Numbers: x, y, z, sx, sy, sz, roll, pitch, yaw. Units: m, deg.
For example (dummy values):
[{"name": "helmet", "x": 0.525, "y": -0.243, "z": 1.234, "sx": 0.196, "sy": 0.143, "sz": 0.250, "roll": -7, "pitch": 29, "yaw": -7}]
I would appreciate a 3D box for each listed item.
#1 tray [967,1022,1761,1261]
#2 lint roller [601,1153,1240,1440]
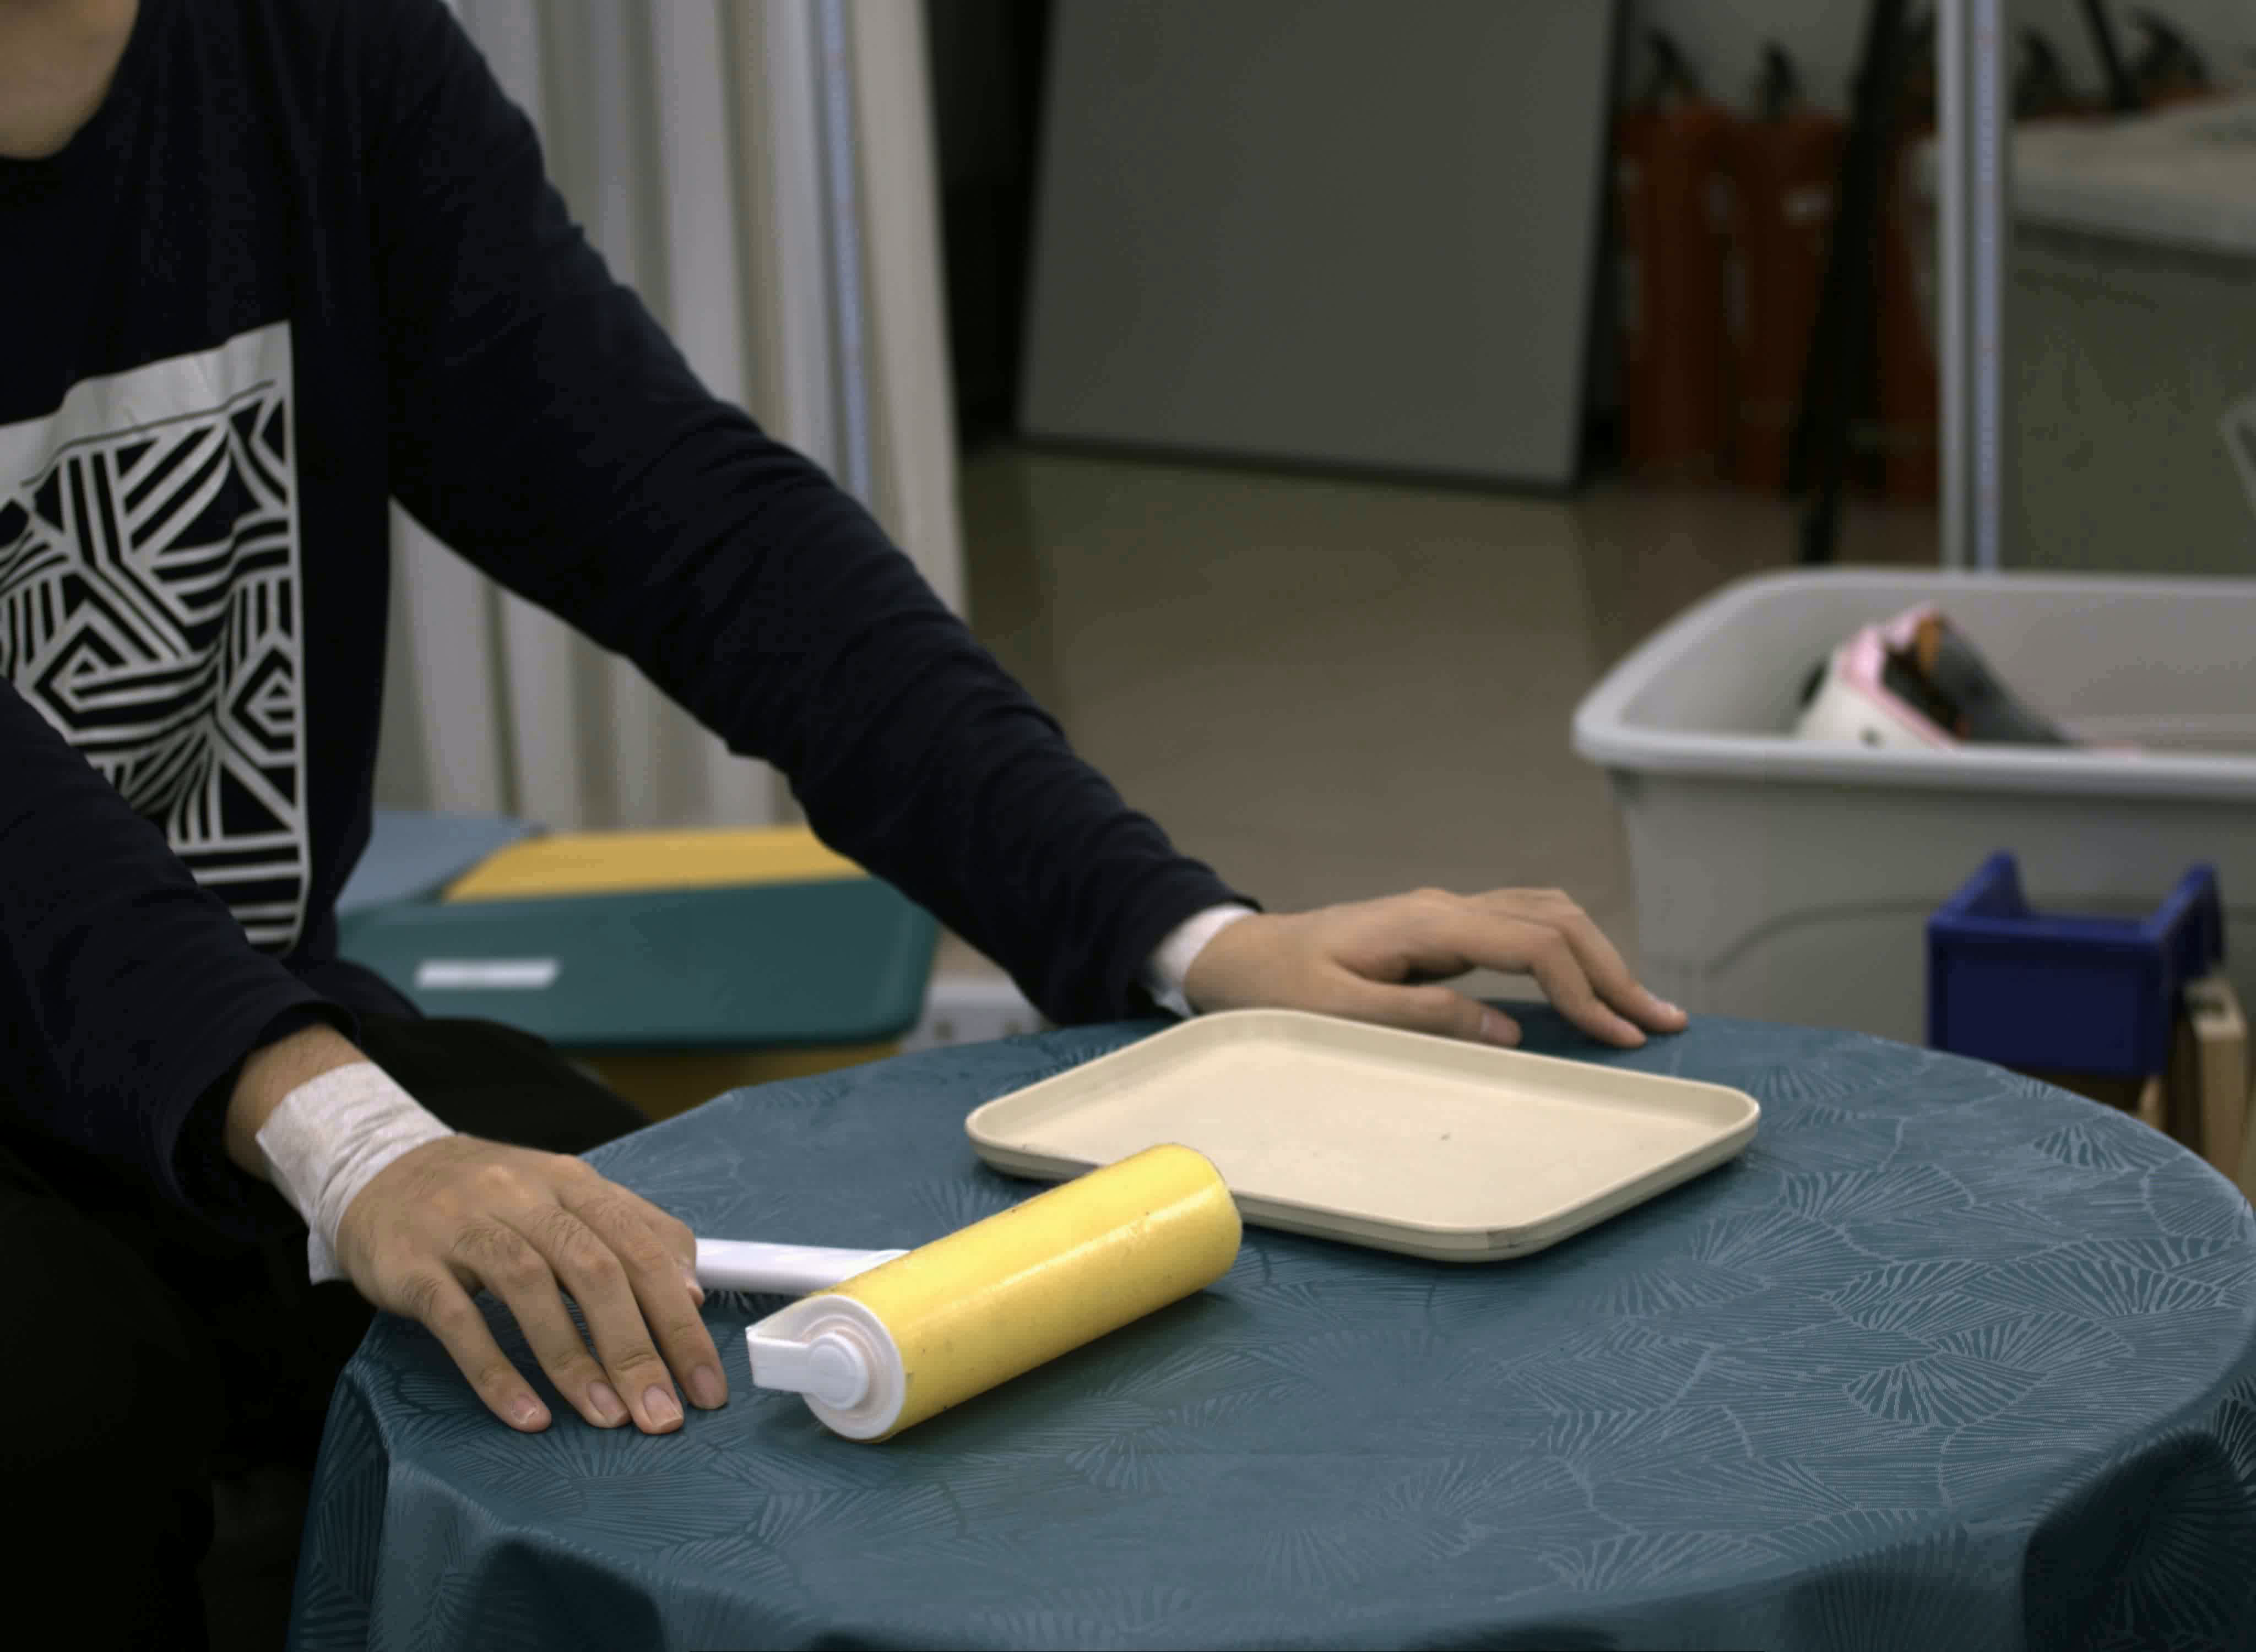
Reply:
[{"name": "tray", "x": 0.078, "y": 0.104, "z": 1.787, "sx": 0.241, "sy": 0.017, "sz": 0.168, "roll": 7, "pitch": 17, "yaw": 40}, {"name": "lint roller", "x": -0.088, "y": 0.132, "z": 1.655, "sx": 0.193, "sy": 0.052, "sz": 0.171, "roll": 10, "pitch": 18, "yaw": 37}]
